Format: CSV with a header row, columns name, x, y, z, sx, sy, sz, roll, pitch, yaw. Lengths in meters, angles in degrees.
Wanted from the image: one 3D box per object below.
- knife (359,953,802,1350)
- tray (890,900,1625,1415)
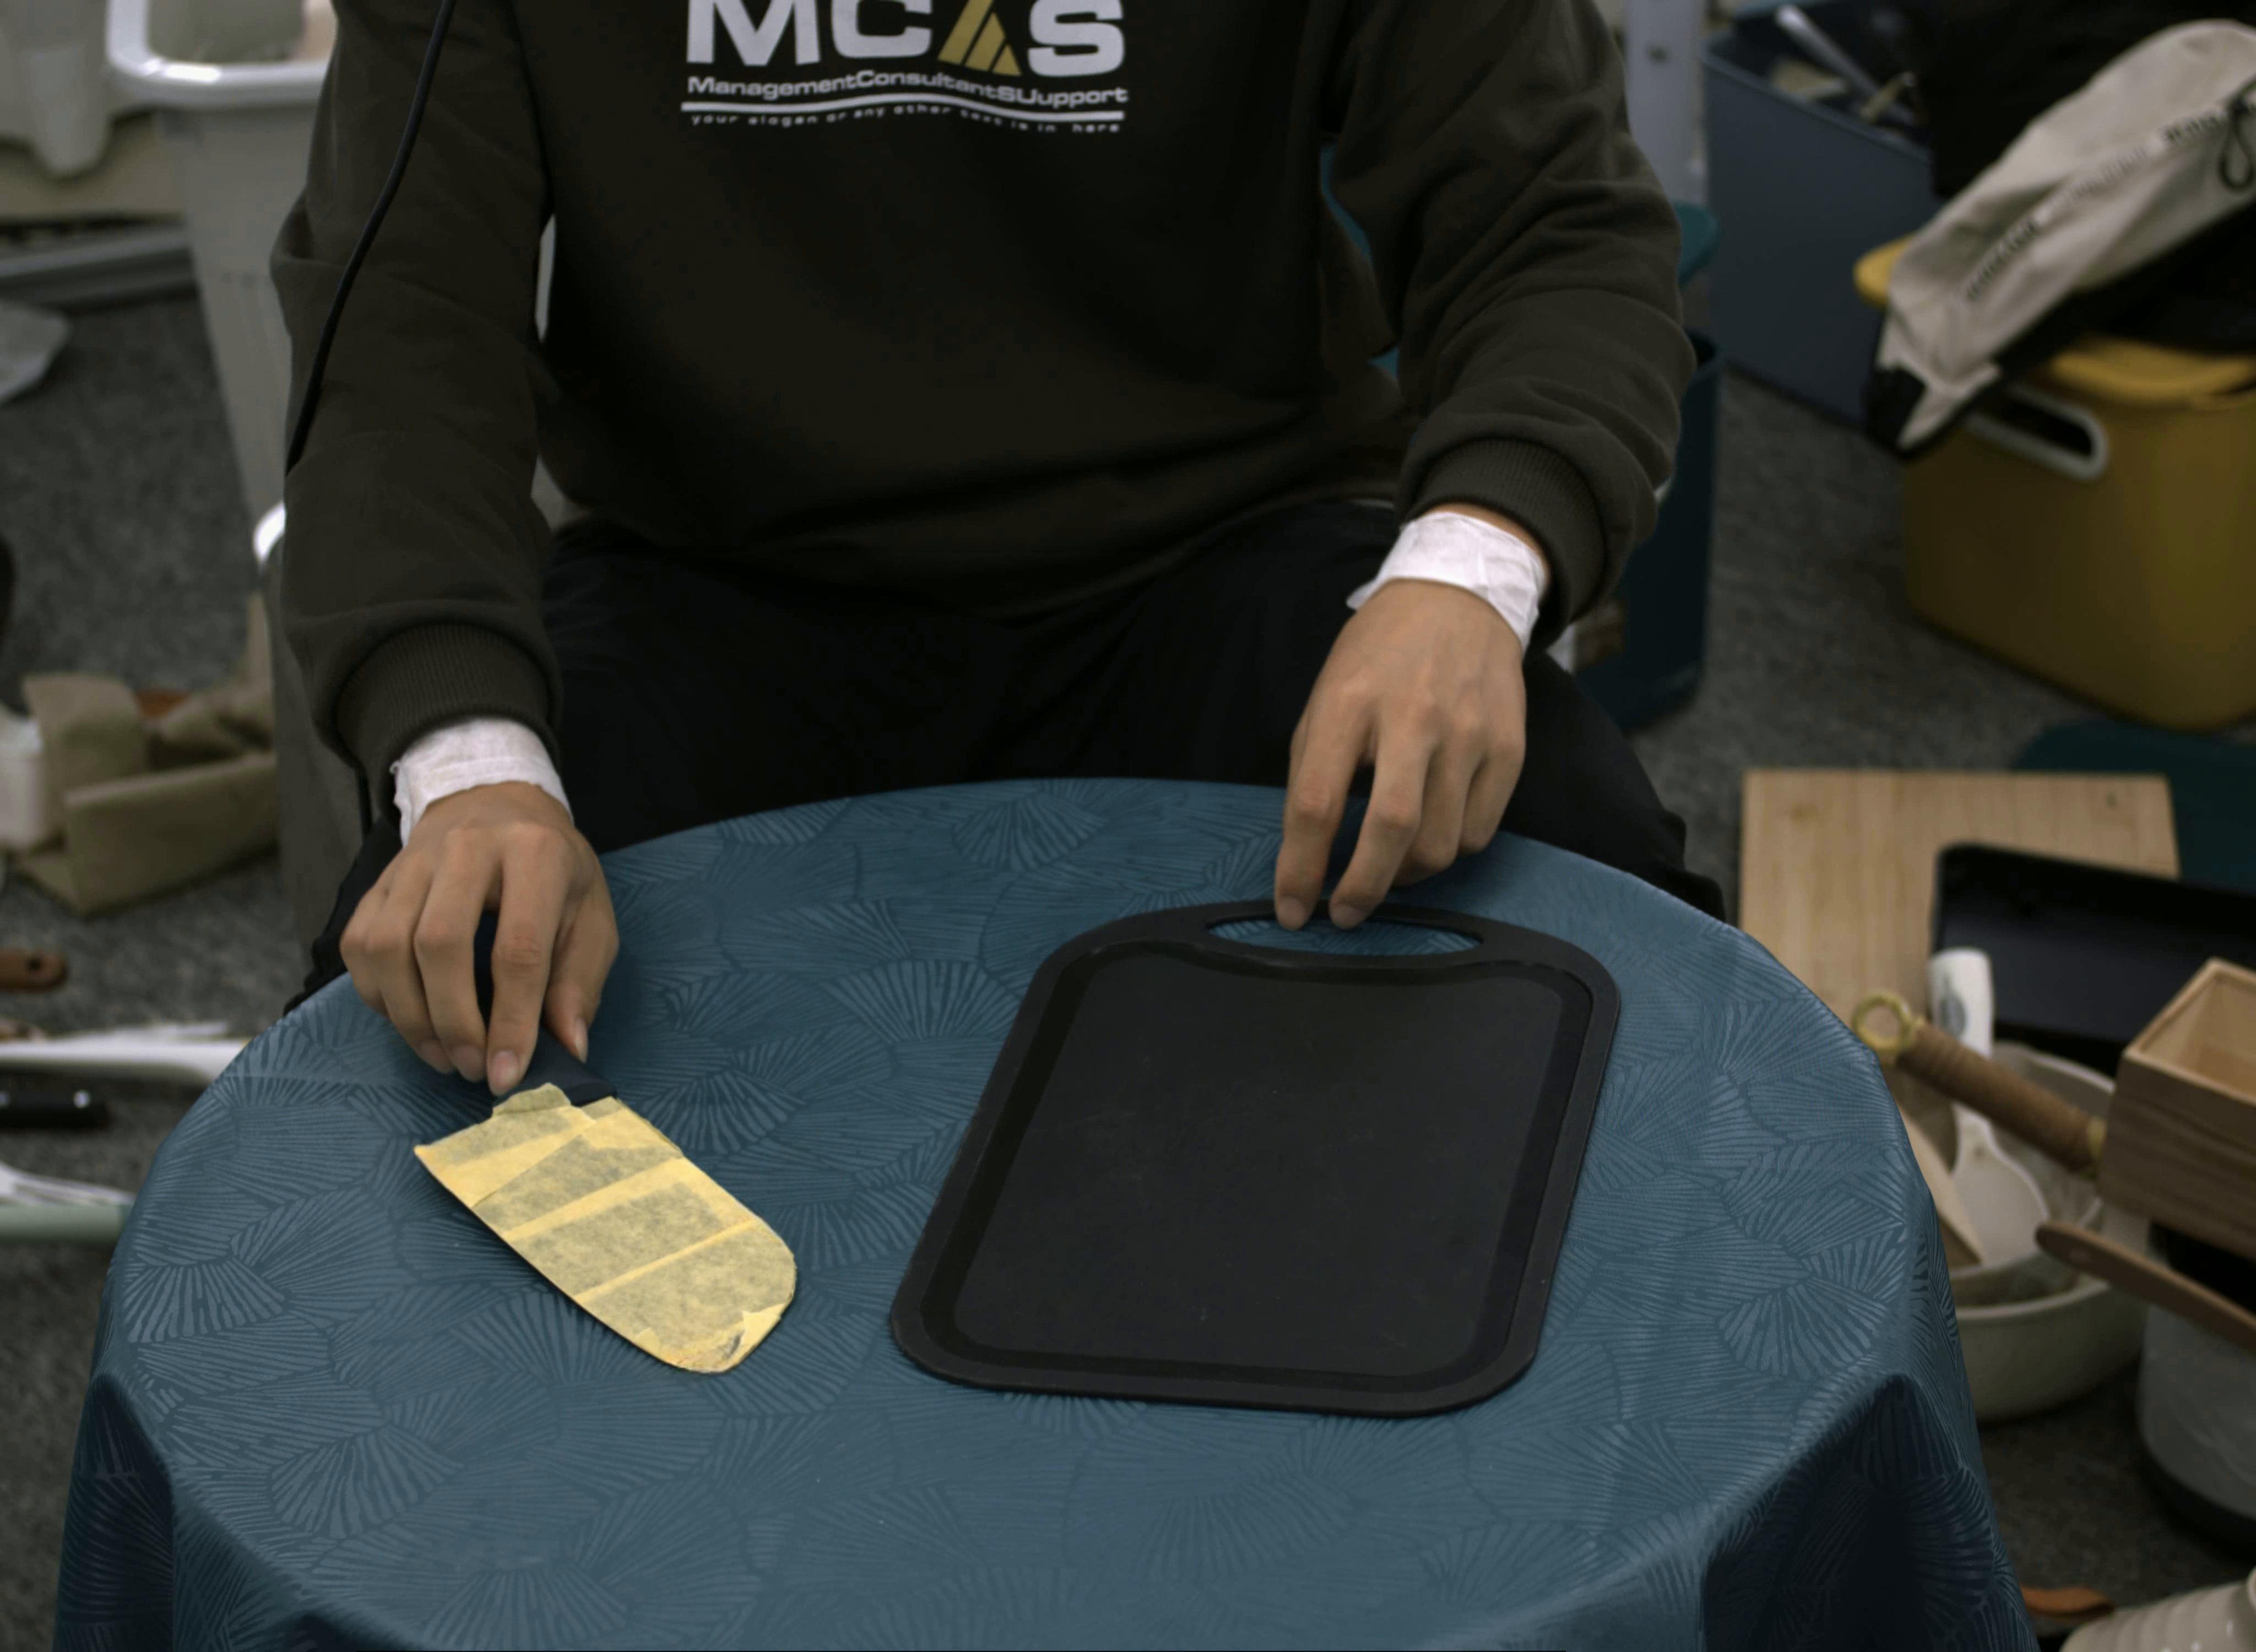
name,x,y,z,sx,sy,sz,roll,pitch,yaw
knife,-0.197,0.110,1.887,0.081,0.027,0.290,-17,31,-28
tray,0.050,0.102,1.886,0.209,0.009,0.331,3,28,12
